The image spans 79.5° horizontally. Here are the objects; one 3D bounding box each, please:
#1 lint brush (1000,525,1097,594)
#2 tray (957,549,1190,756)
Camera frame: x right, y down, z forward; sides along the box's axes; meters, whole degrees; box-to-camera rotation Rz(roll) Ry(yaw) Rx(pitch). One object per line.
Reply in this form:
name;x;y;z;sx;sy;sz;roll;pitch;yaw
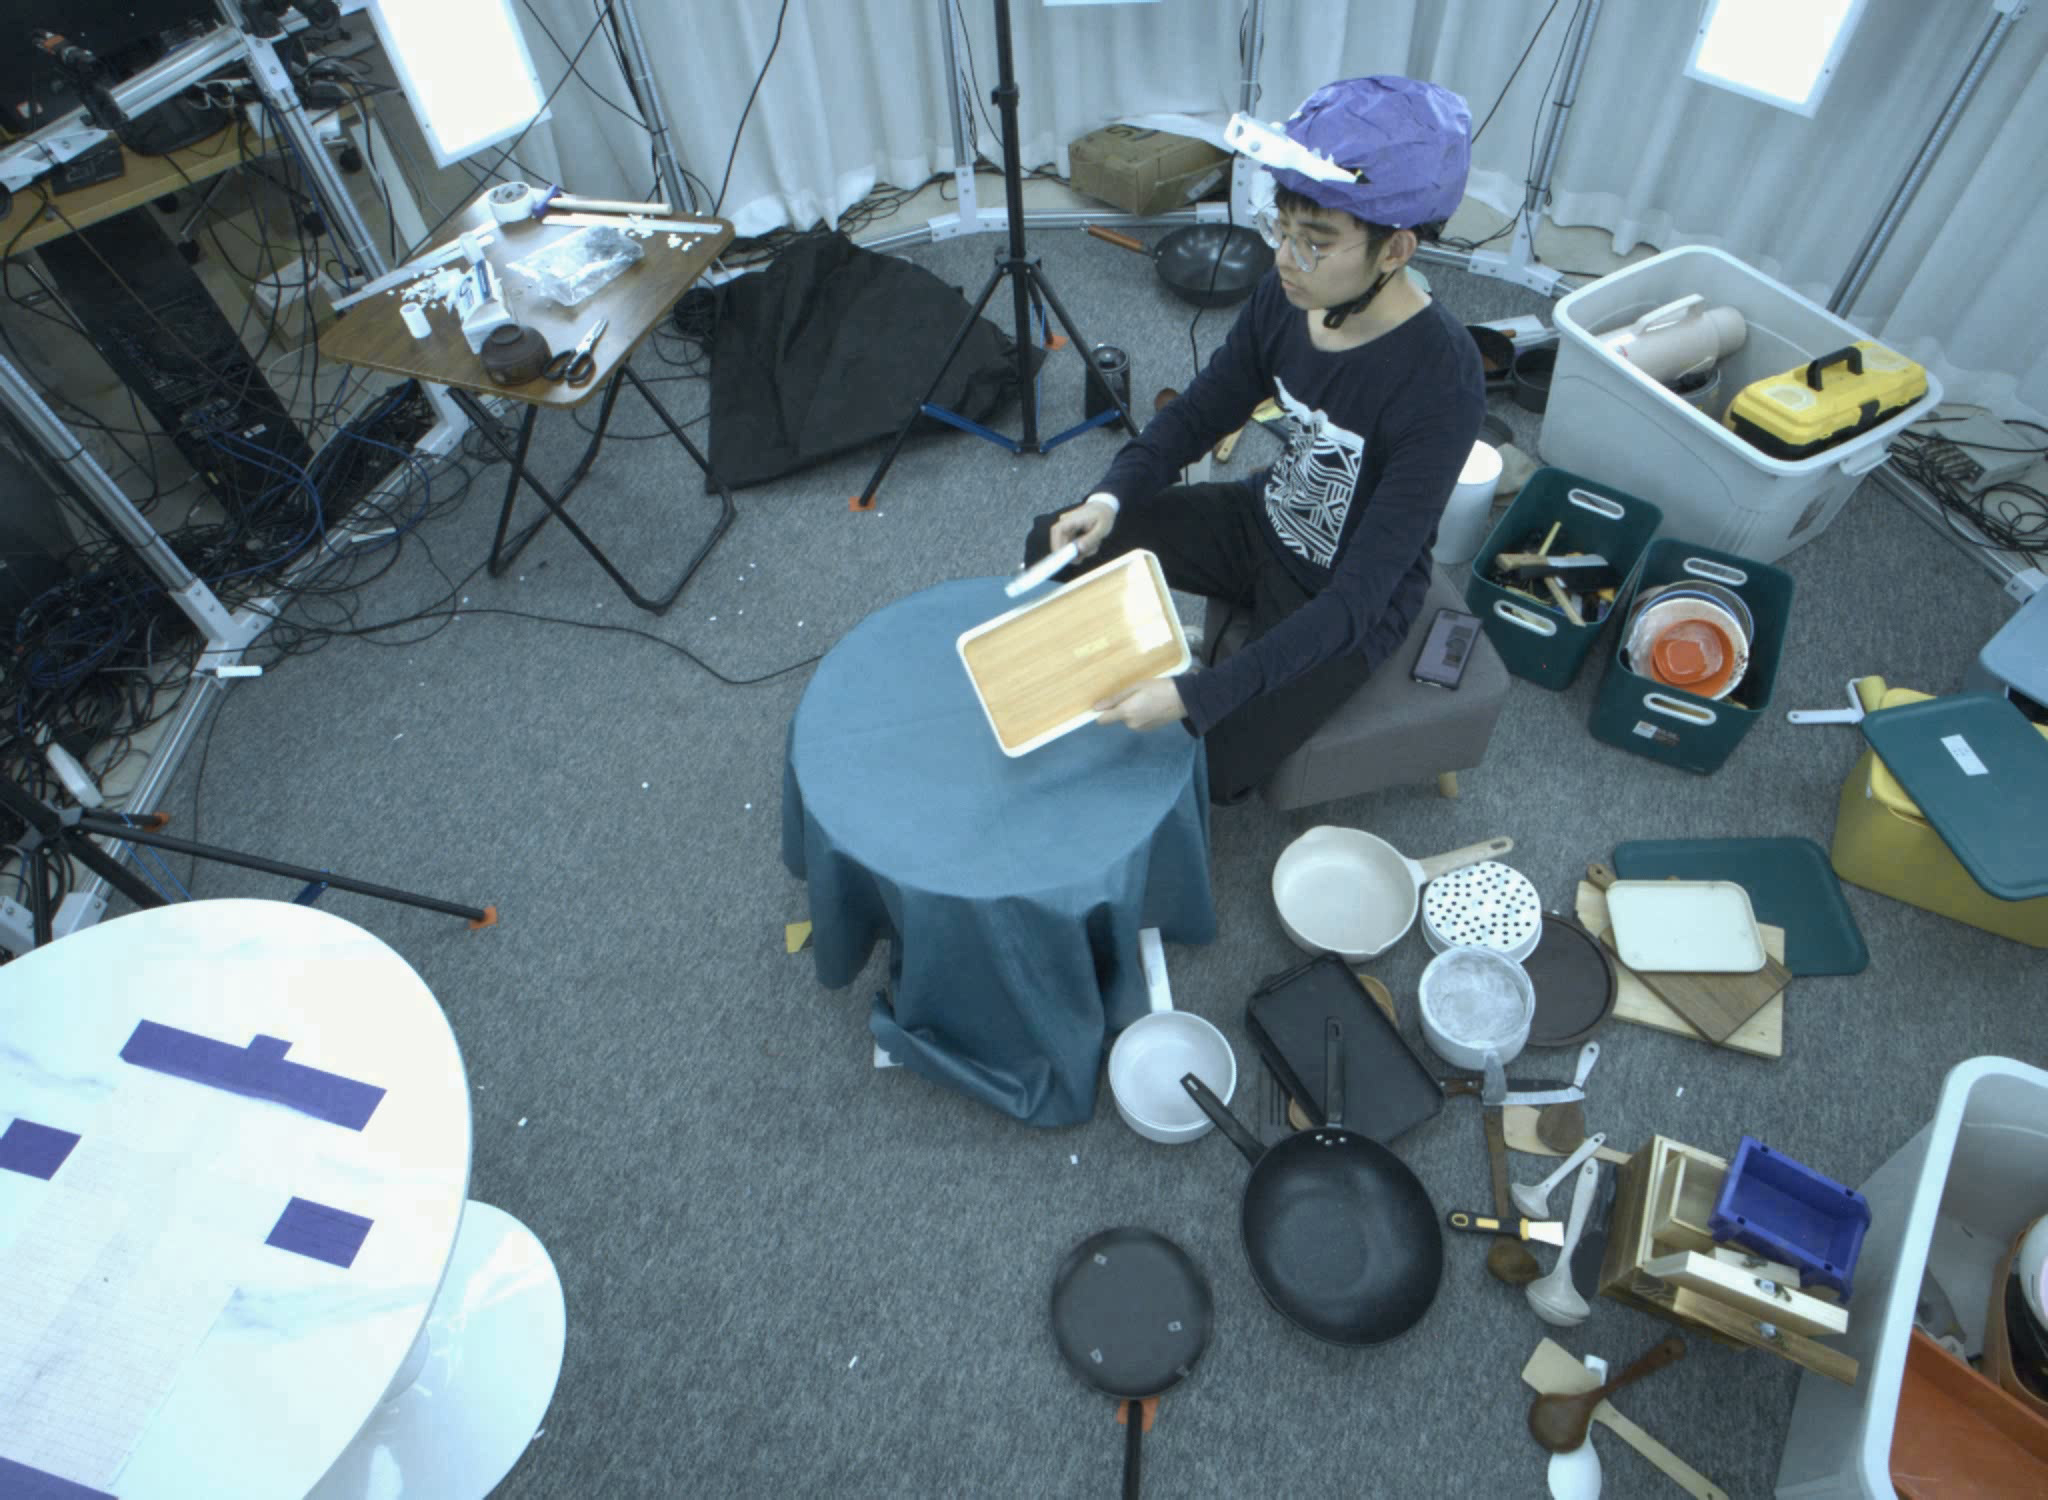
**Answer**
lint brush;0.042;-0.274;1.725;0.021;0.059;0.311;57;31;-7
tray;0.072;-0.134;1.695;0.302;0.194;0.027;-27;28;-10
